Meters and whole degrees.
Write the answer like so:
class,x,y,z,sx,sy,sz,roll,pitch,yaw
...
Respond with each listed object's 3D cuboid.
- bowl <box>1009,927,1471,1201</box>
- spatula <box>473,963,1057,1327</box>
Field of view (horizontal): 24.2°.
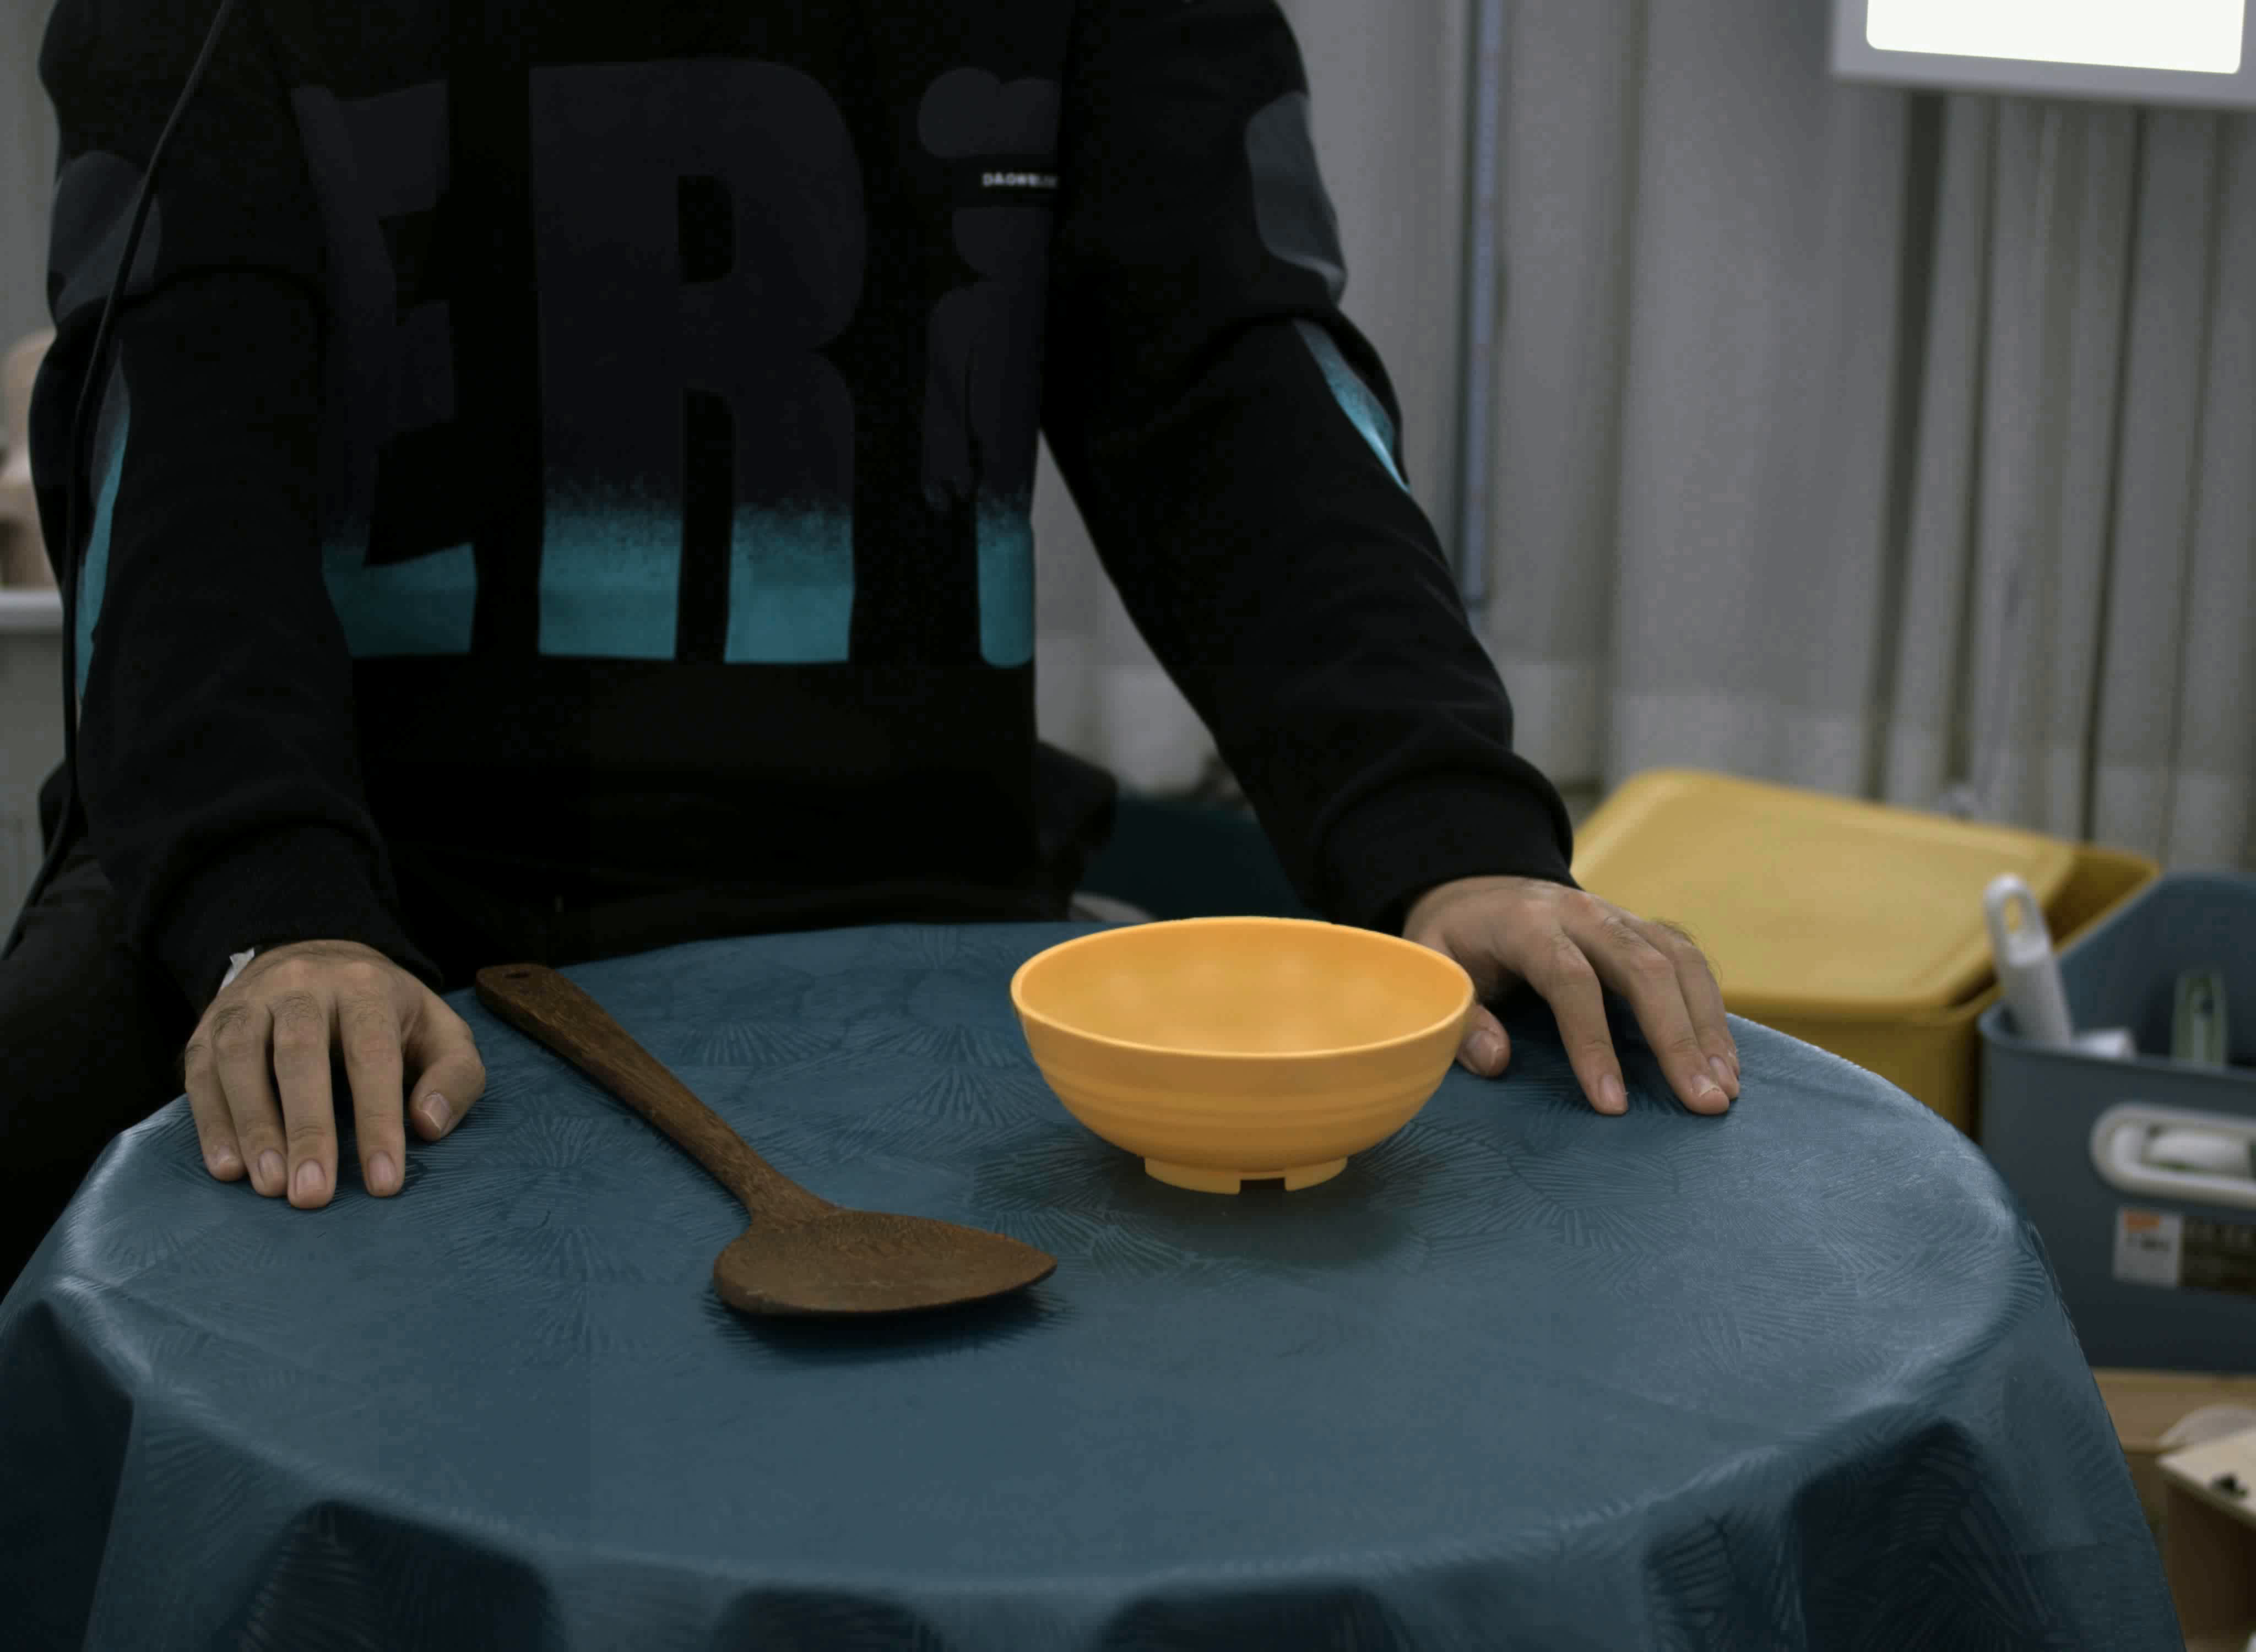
class,x,y,z,sx,sy,sz,roll,pitch,yaw
bowl,0.033,0.079,1.646,0.145,0.060,0.144,3,14,0
spatula,-0.137,0.094,1.660,0.096,0.016,0.381,-6,17,-25
